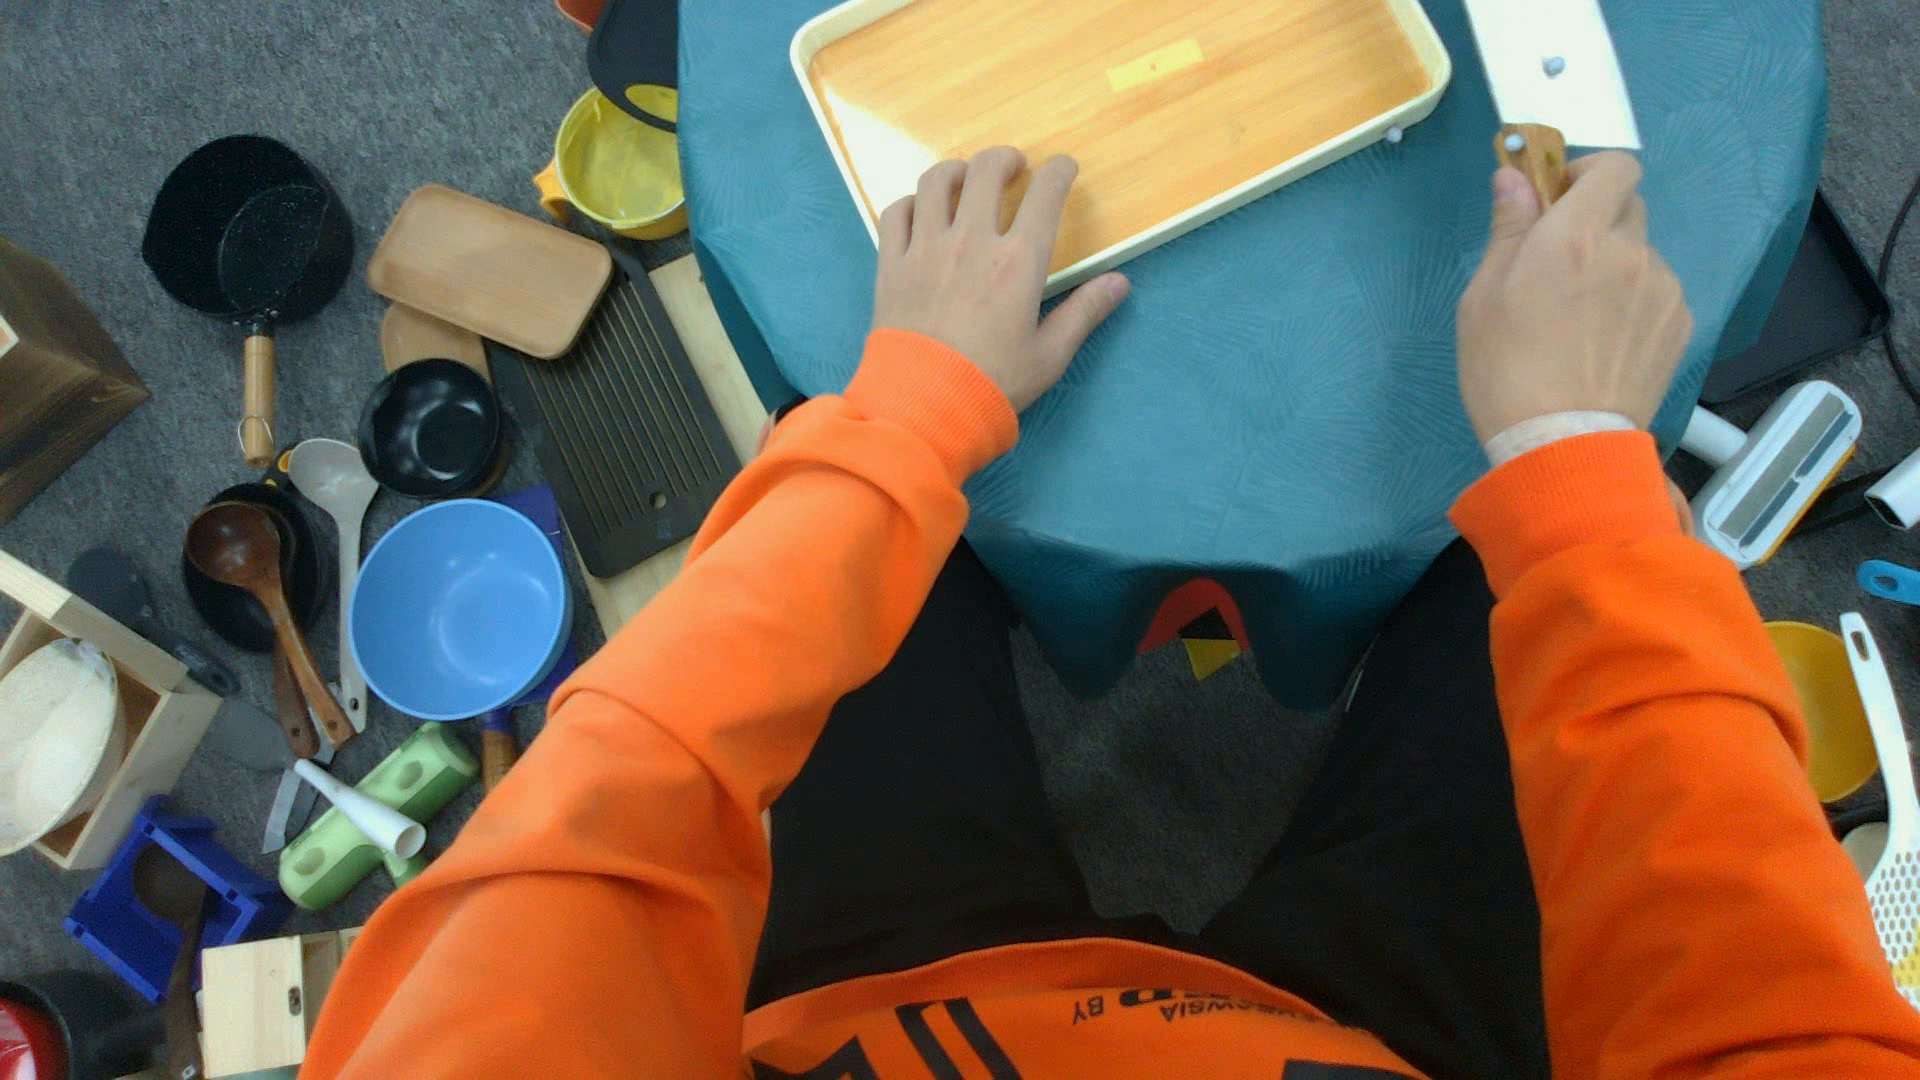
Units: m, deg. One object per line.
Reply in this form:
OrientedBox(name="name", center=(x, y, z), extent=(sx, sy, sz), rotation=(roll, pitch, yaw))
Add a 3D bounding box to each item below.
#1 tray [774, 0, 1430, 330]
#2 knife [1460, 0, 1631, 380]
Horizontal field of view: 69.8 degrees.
OrientedBox(name="tray", center=(0.070, -0.251, 0.724), extent=(0.300, 0.027, 0.192), rotation=(-25, 77, 1))
OrientedBox(name="knife", center=(0.275, -0.223, 0.648), extent=(0.093, 0.021, 0.306), rotation=(-7, 79, -26))
